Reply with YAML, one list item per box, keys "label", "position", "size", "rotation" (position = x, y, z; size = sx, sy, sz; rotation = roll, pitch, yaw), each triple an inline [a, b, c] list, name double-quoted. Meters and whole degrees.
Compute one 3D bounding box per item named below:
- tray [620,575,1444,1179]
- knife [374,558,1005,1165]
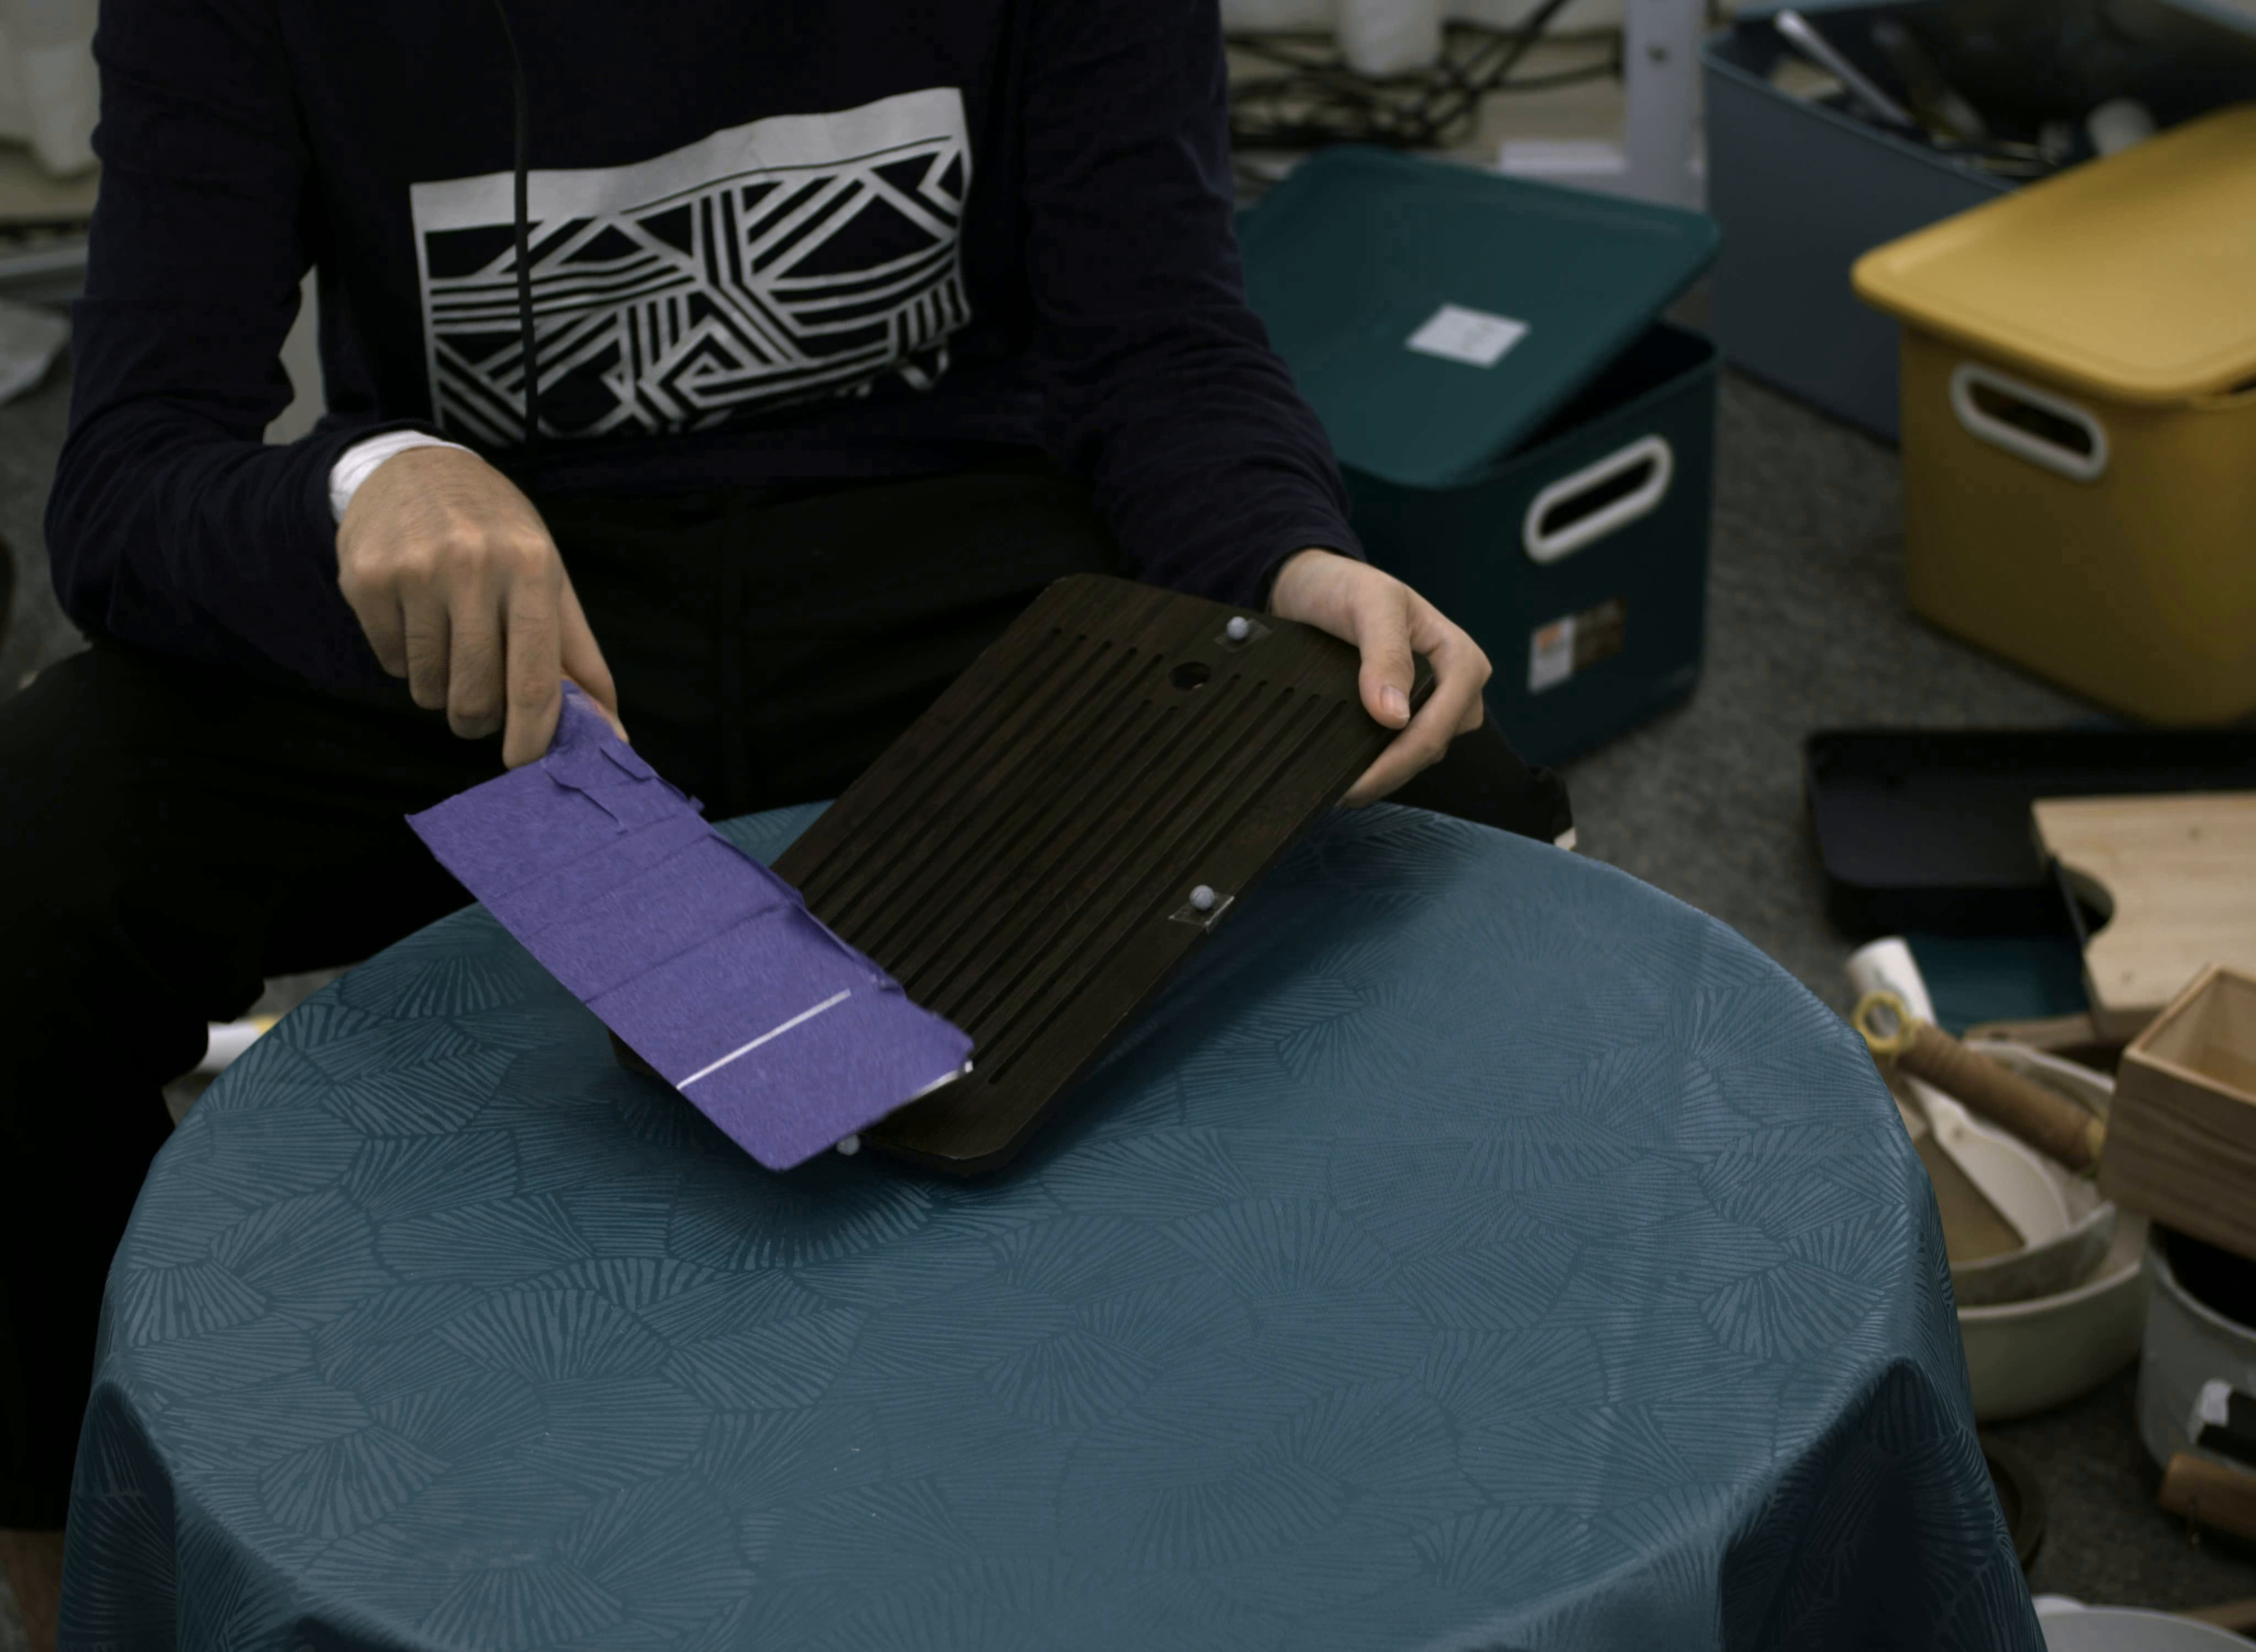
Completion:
- label: "tray"
  position: [-0.030, 0.014, 1.995]
  size: [0.169, 0.018, 0.311]
  rotation: [14, 42, 30]
- label: "knife"
  position: [-0.179, 0.009, 1.931]
  size: [0.105, 0.032, 0.316]
  rotation: [-24, 49, -36]
